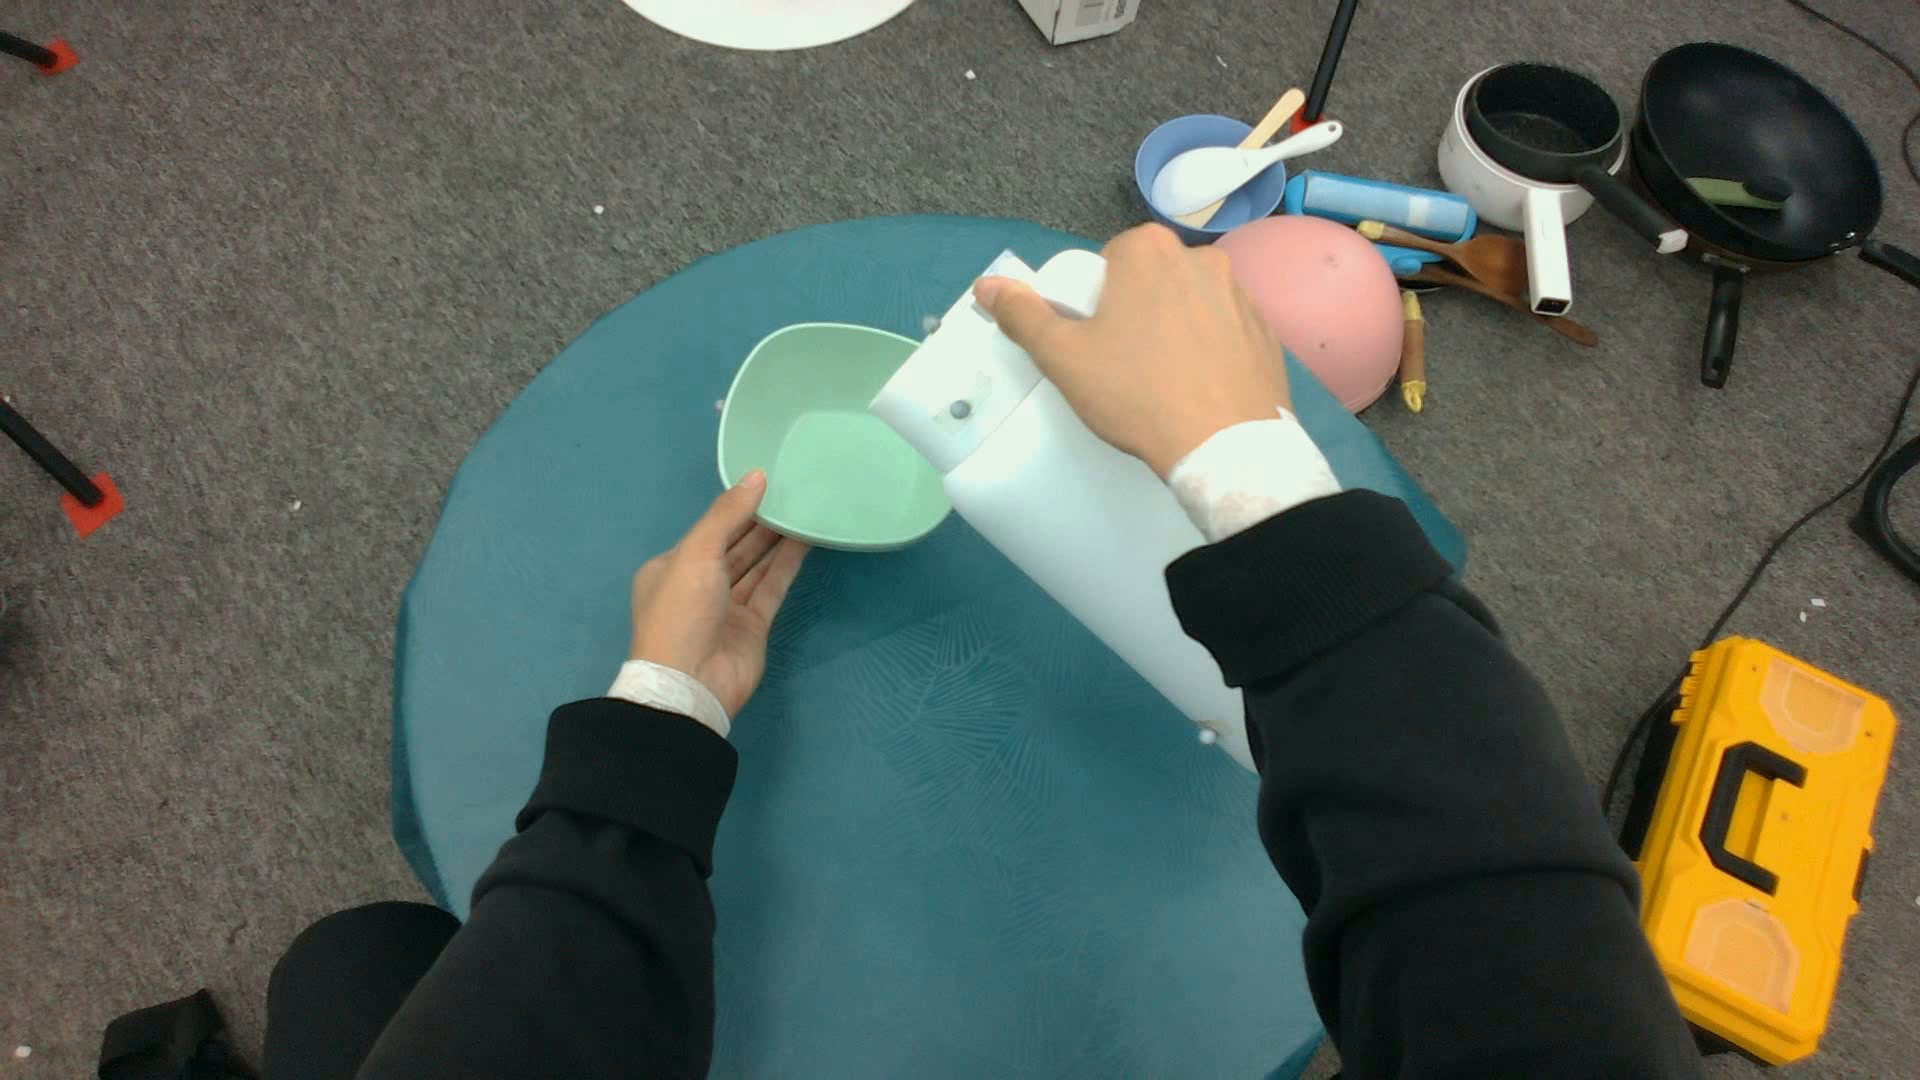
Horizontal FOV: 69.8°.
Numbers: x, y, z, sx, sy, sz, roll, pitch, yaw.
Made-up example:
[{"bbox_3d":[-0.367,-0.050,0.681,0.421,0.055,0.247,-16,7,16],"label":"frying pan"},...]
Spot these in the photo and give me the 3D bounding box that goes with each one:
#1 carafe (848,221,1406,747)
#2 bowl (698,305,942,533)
[{"bbox_3d":[0.087,-0.031,0.640,0.269,0.172,0.124,42,60,-9],"label":"carafe"},{"bbox_3d":[-0.075,-0.059,0.776,0.151,0.058,0.152,3,63,-7],"label":"bowl"}]
